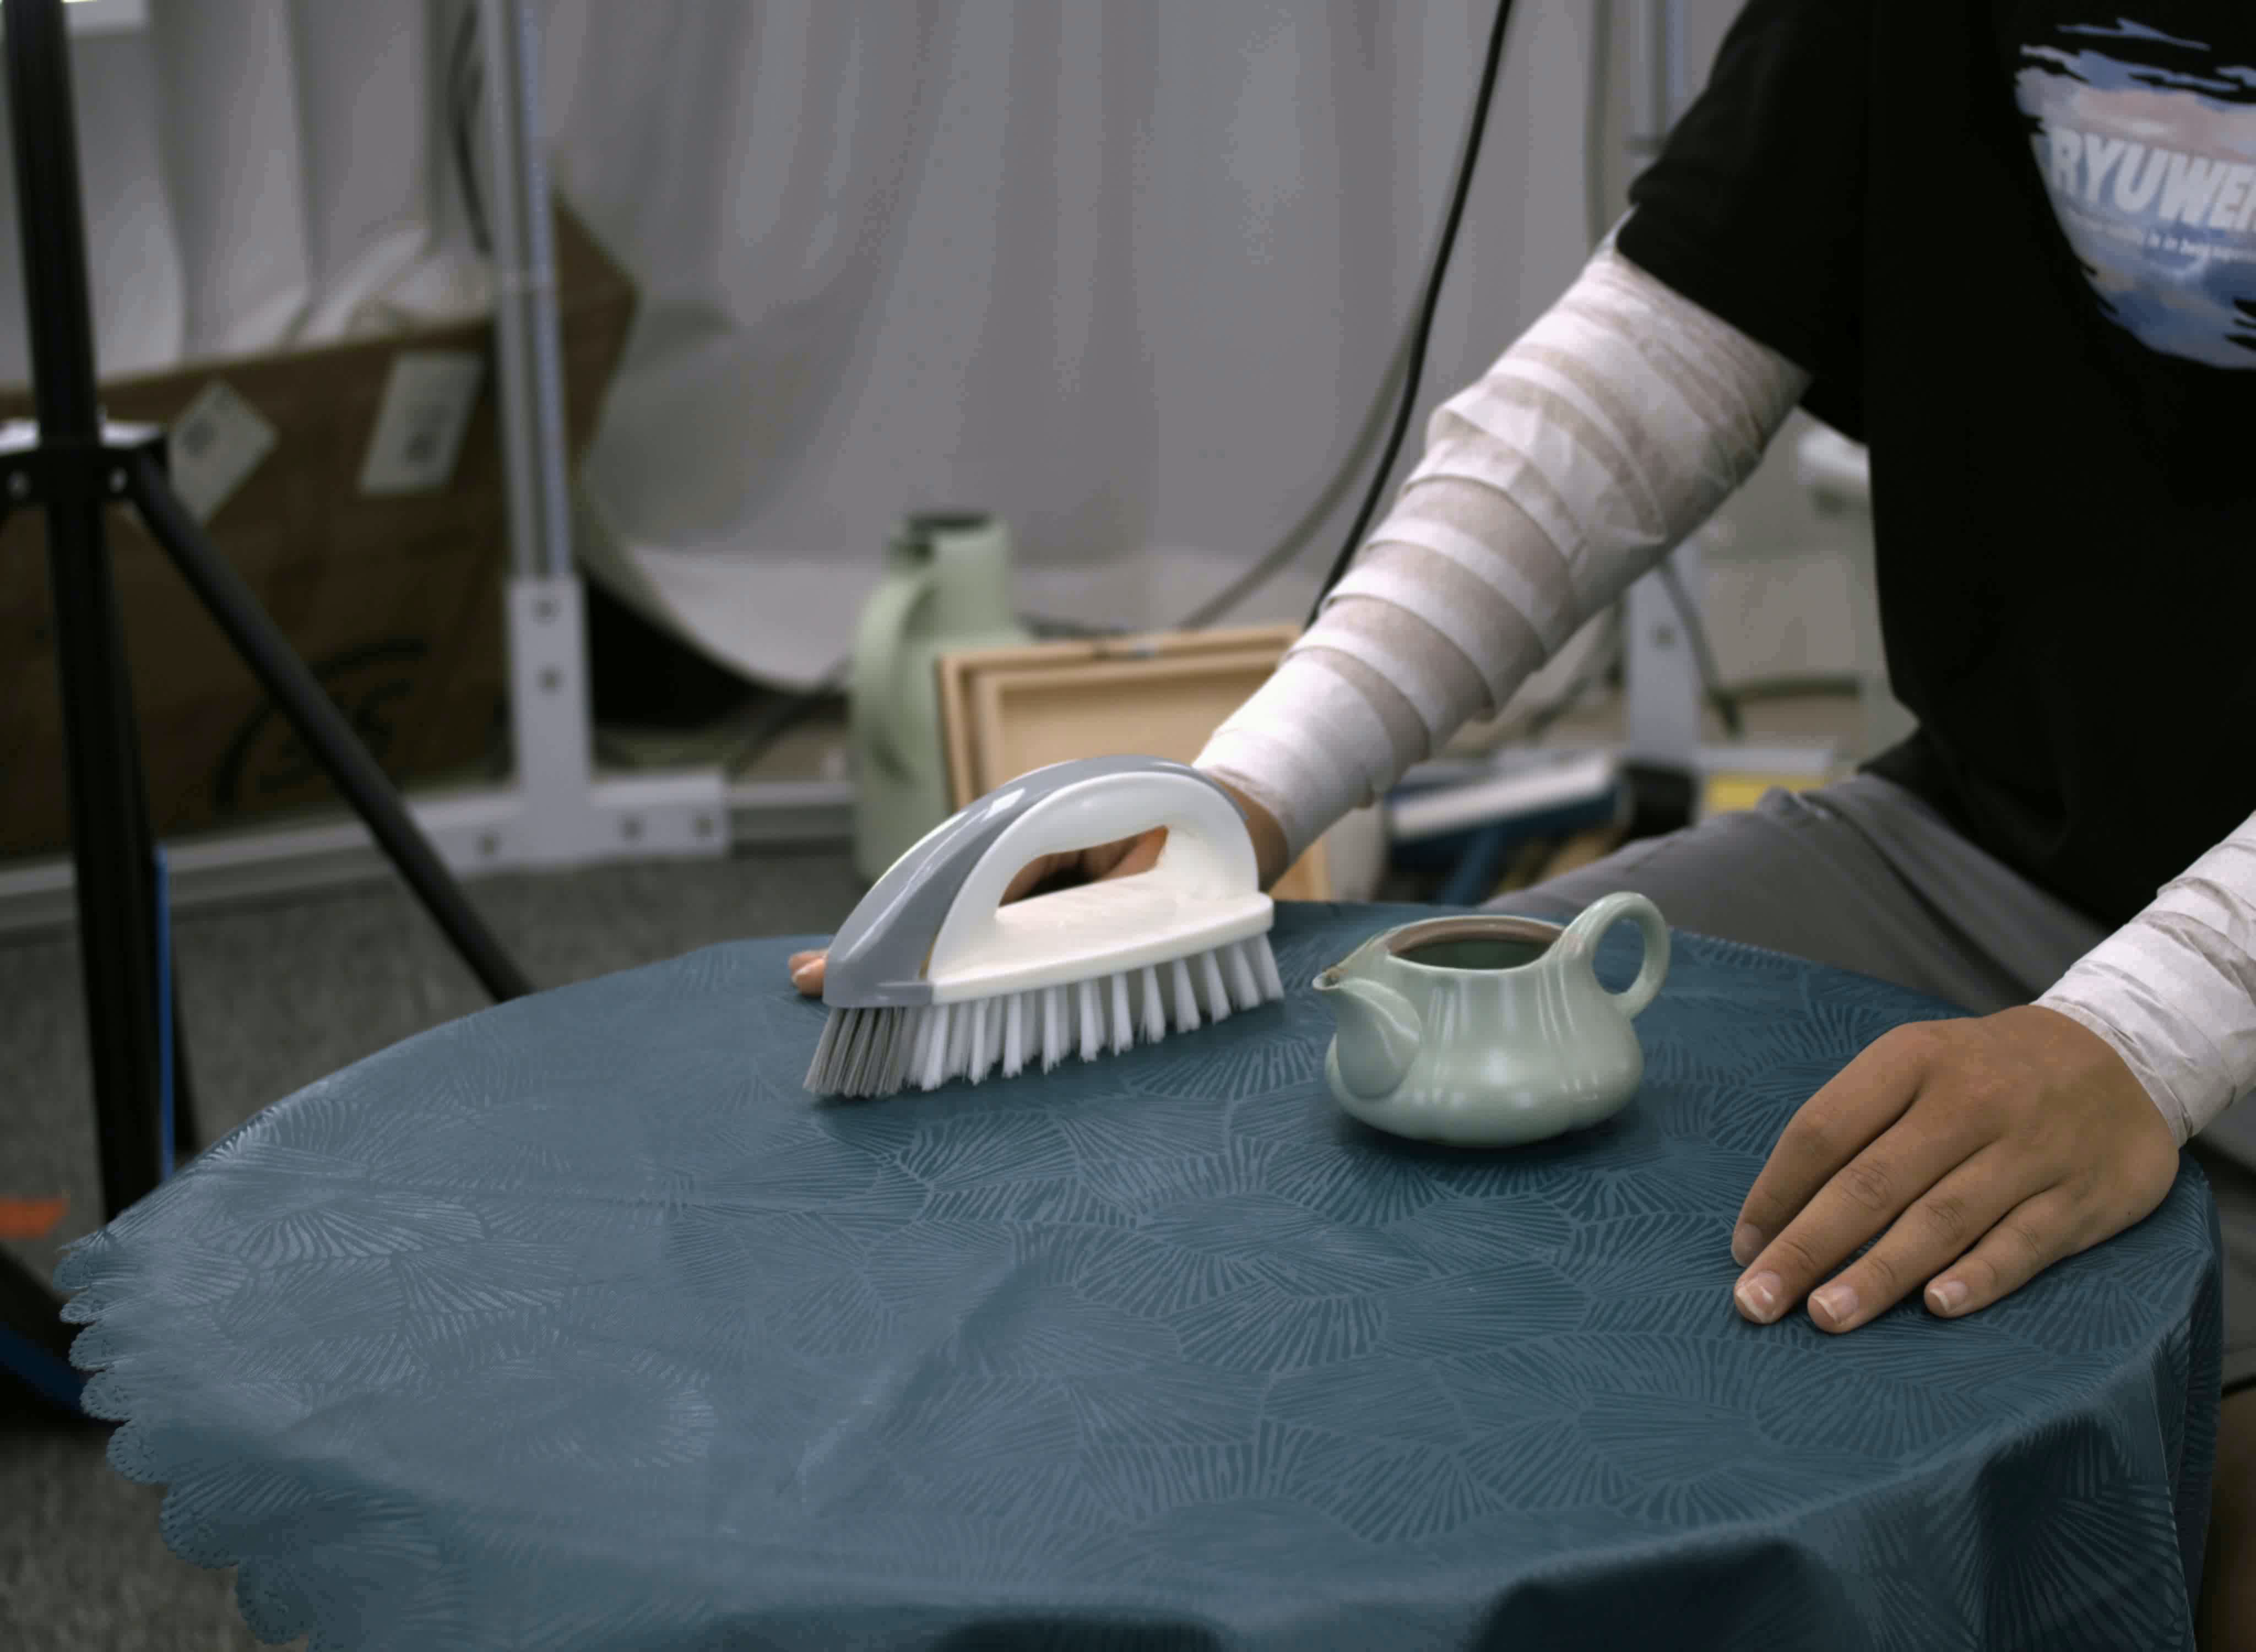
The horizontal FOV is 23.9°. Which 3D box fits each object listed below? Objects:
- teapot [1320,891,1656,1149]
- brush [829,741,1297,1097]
[{"bbox_3d":[0.110,0.060,1.601,0.134,0.061,0.098,-14,17,-36],"label":"teapot"},{"bbox_3d":[-0.027,0.027,1.685,0.171,0.094,0.063,-15,16,-35],"label":"brush"}]
